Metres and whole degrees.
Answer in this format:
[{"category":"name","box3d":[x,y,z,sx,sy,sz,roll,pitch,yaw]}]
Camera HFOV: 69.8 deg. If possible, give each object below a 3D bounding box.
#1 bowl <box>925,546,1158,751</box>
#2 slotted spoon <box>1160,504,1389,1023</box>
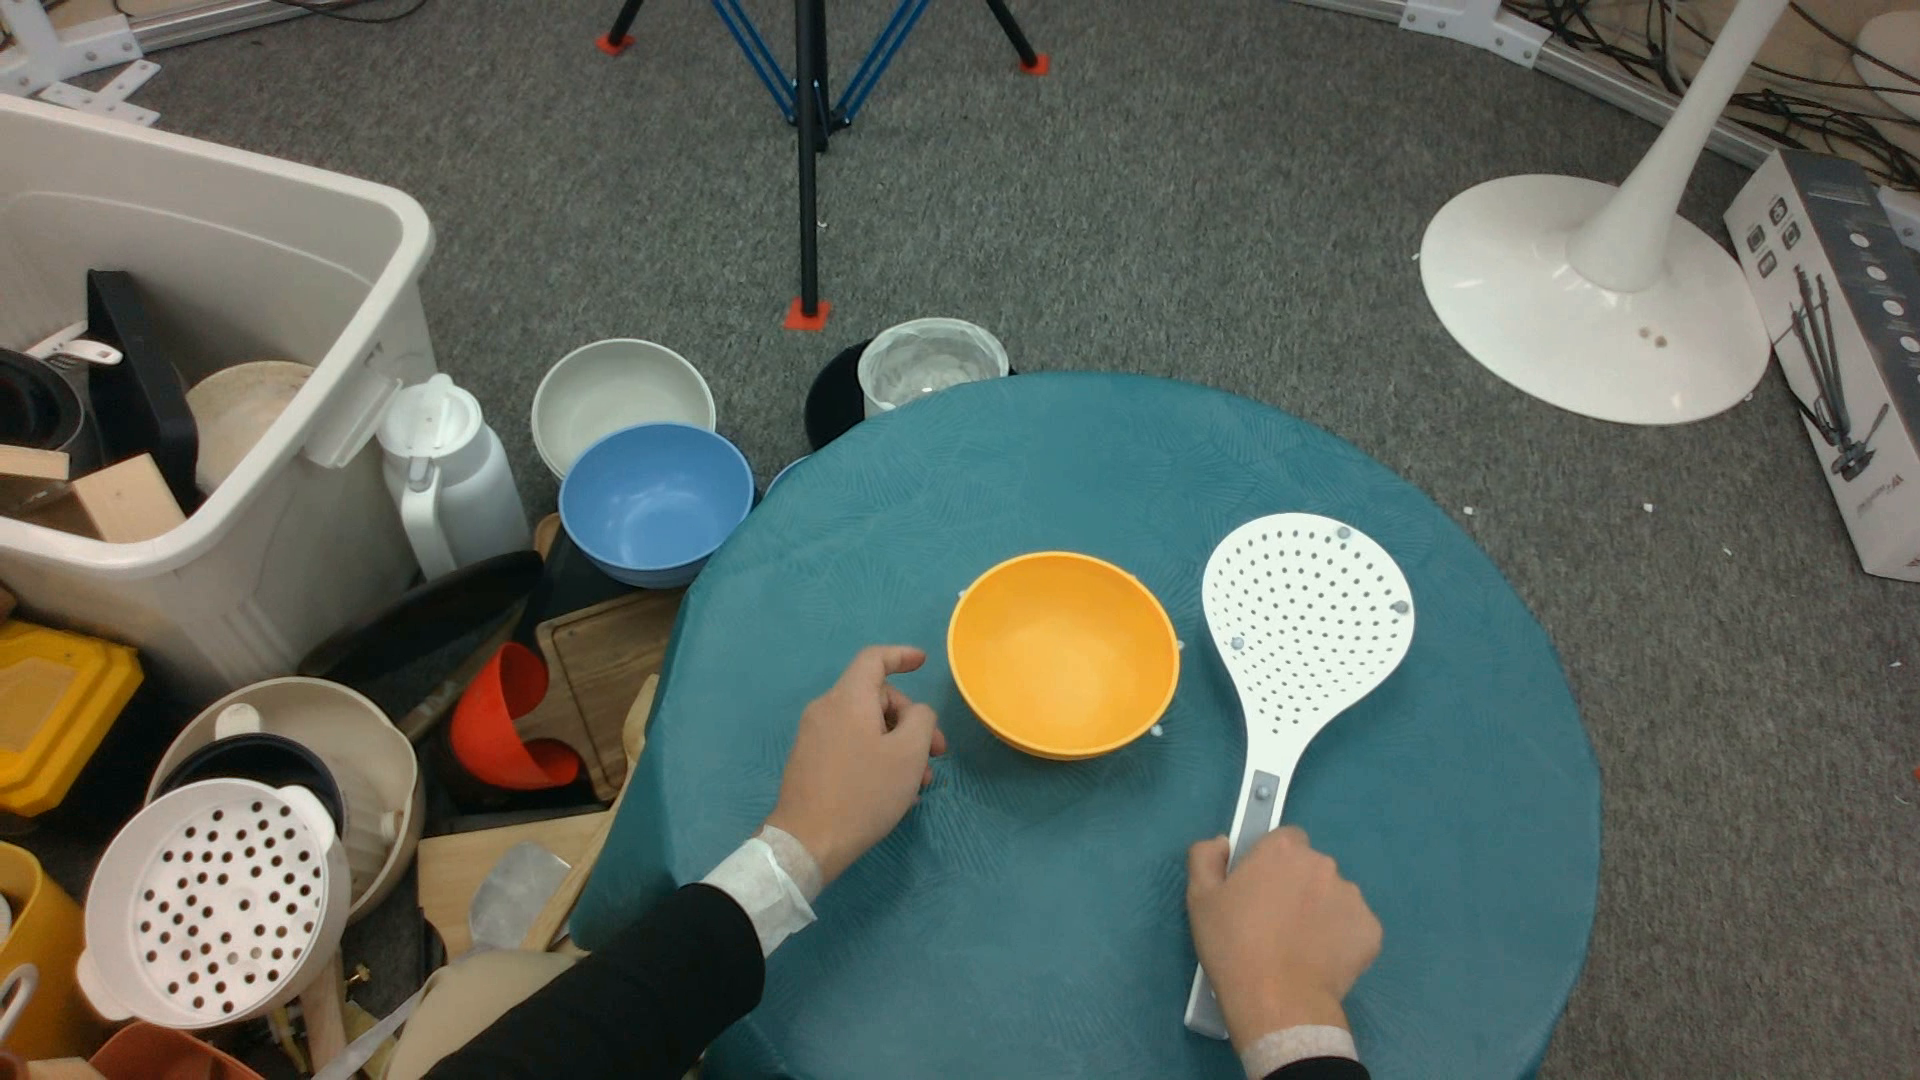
[{"category":"bowl","box3d":[0.049,0.078,0.869,0.145,0.060,0.146,2,54,-3]},{"category":"slotted spoon","box3d":[0.180,0.125,0.855,0.136,0.045,0.351,17,55,8]}]
